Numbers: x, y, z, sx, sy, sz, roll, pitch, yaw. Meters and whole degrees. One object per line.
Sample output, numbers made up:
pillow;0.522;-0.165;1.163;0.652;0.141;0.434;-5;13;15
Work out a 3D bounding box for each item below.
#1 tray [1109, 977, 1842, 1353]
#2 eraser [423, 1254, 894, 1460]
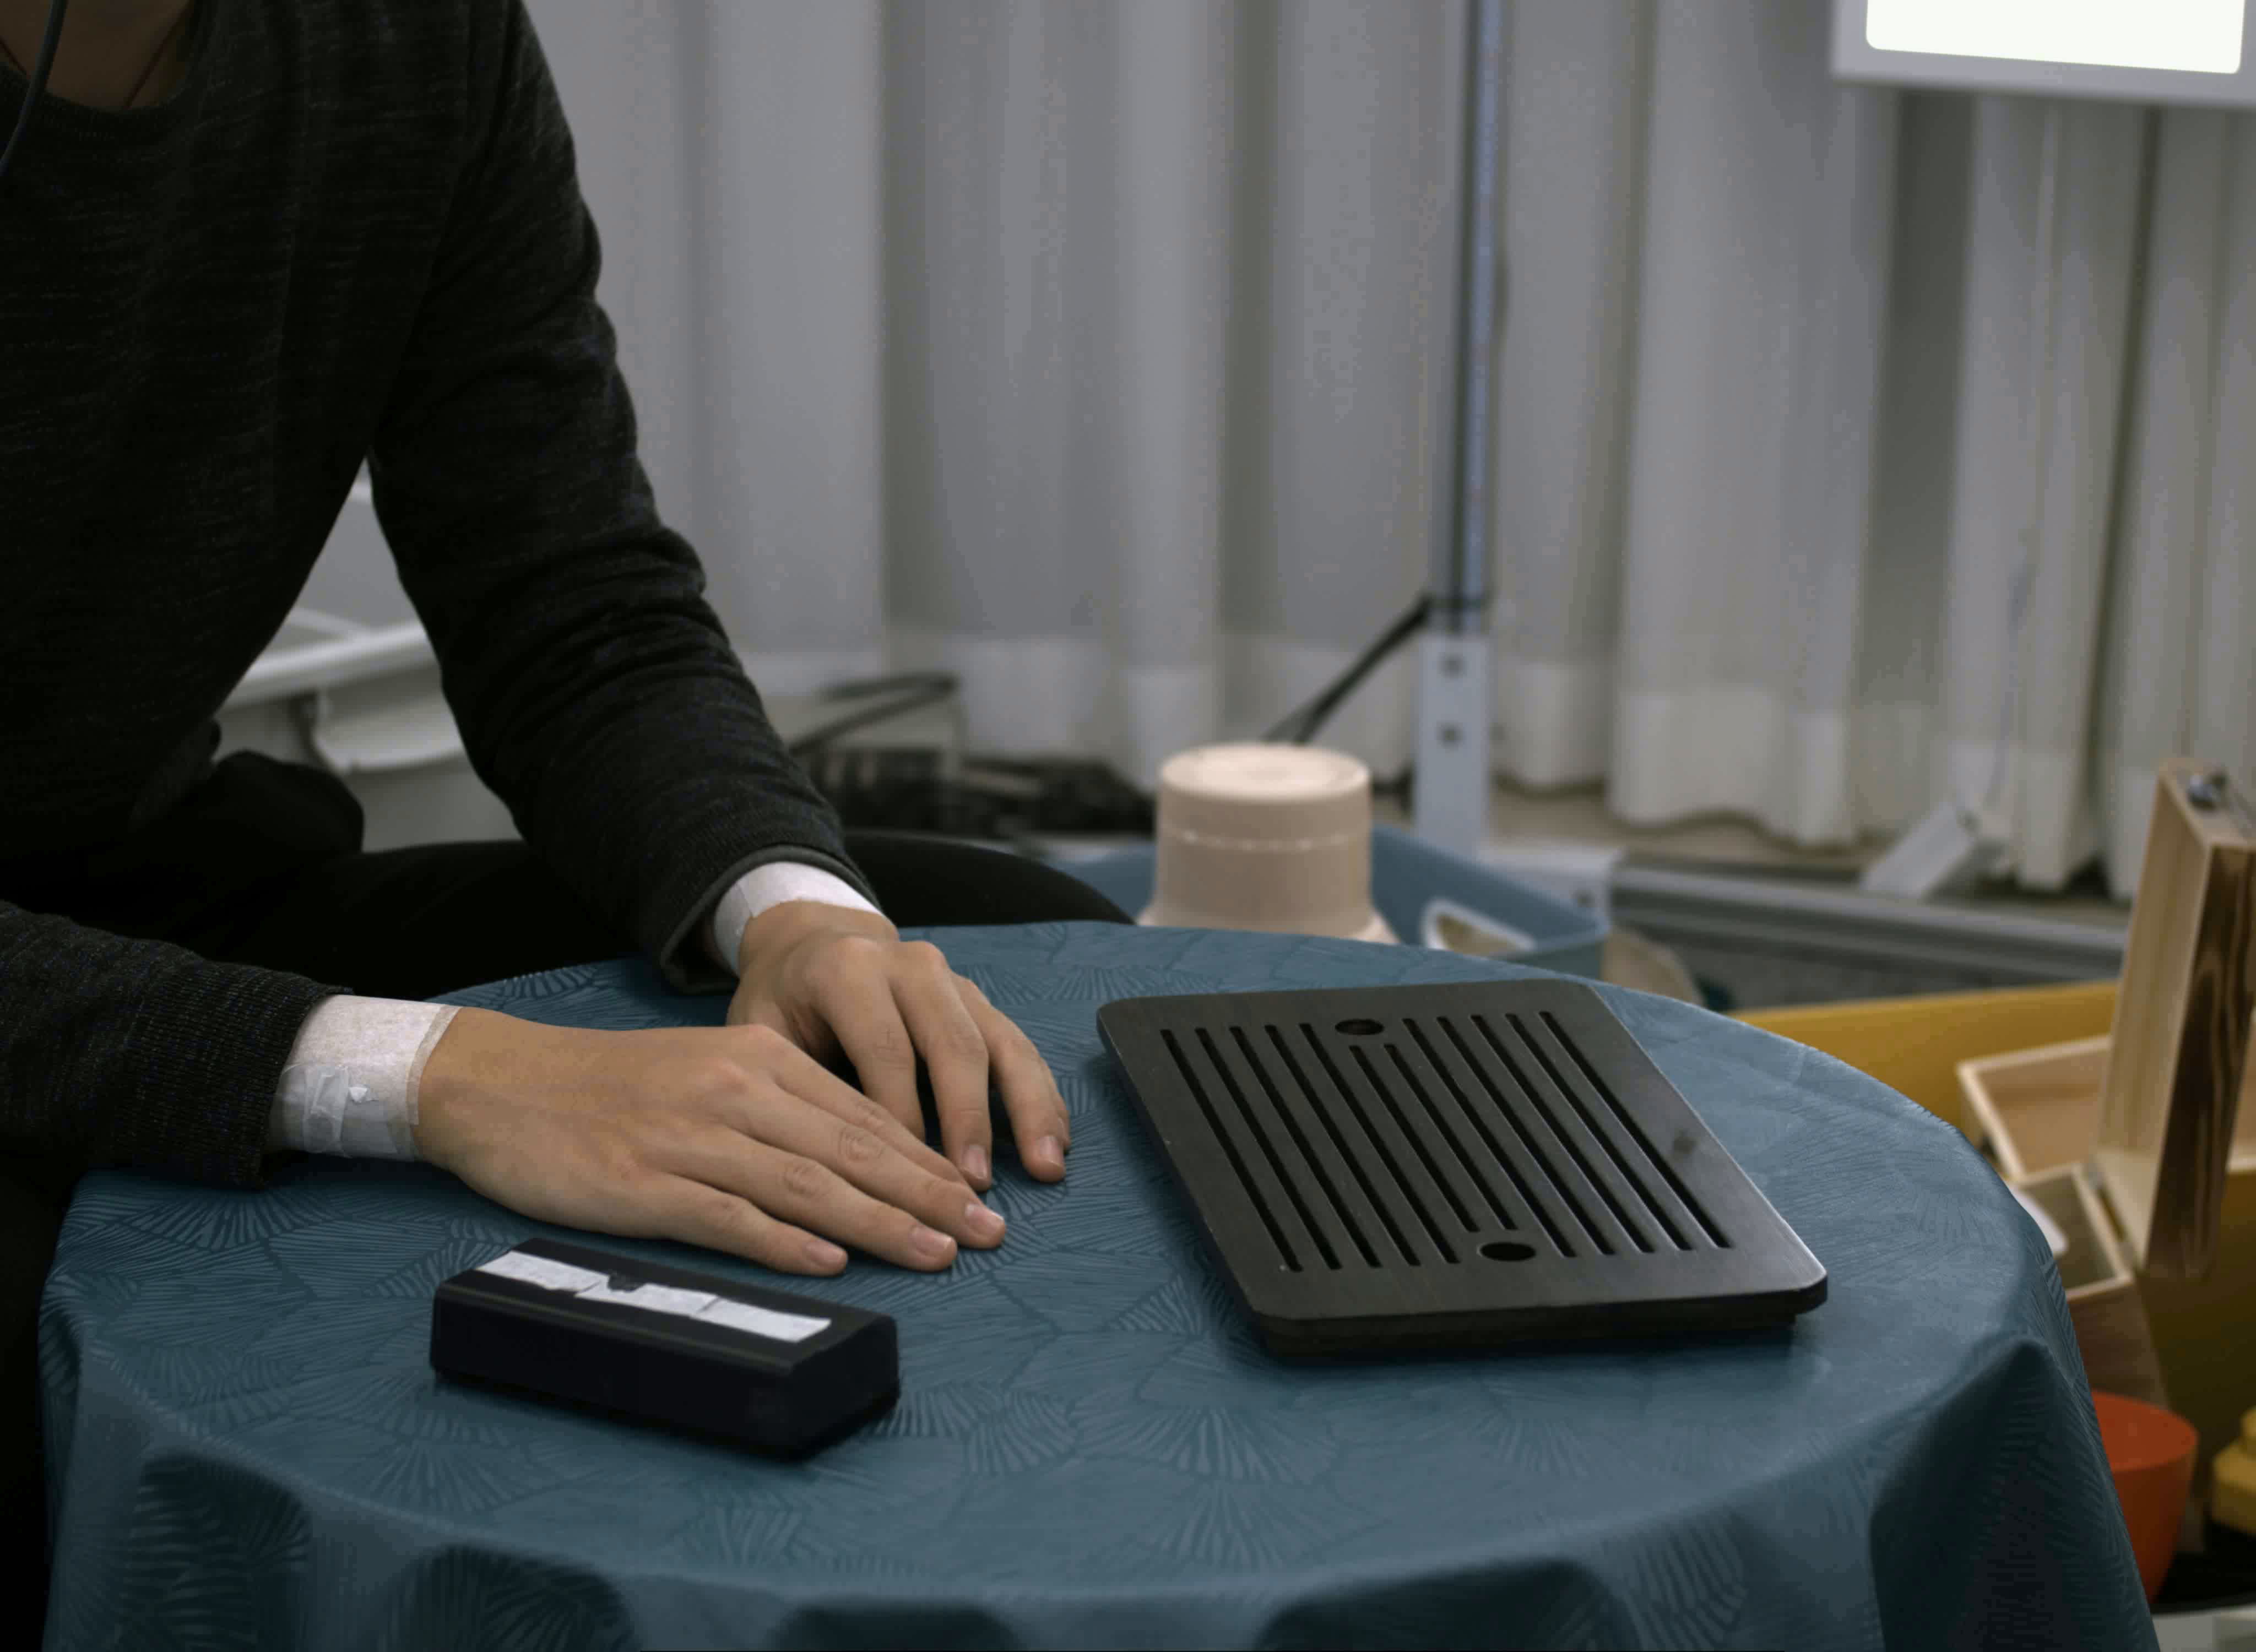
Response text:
tray;0.099;0.102;1.629;0.170;0.019;0.303;-2;16;-9
eraser;-0.129;0.145;1.448;0.124;0.030;0.054;8;15;28
